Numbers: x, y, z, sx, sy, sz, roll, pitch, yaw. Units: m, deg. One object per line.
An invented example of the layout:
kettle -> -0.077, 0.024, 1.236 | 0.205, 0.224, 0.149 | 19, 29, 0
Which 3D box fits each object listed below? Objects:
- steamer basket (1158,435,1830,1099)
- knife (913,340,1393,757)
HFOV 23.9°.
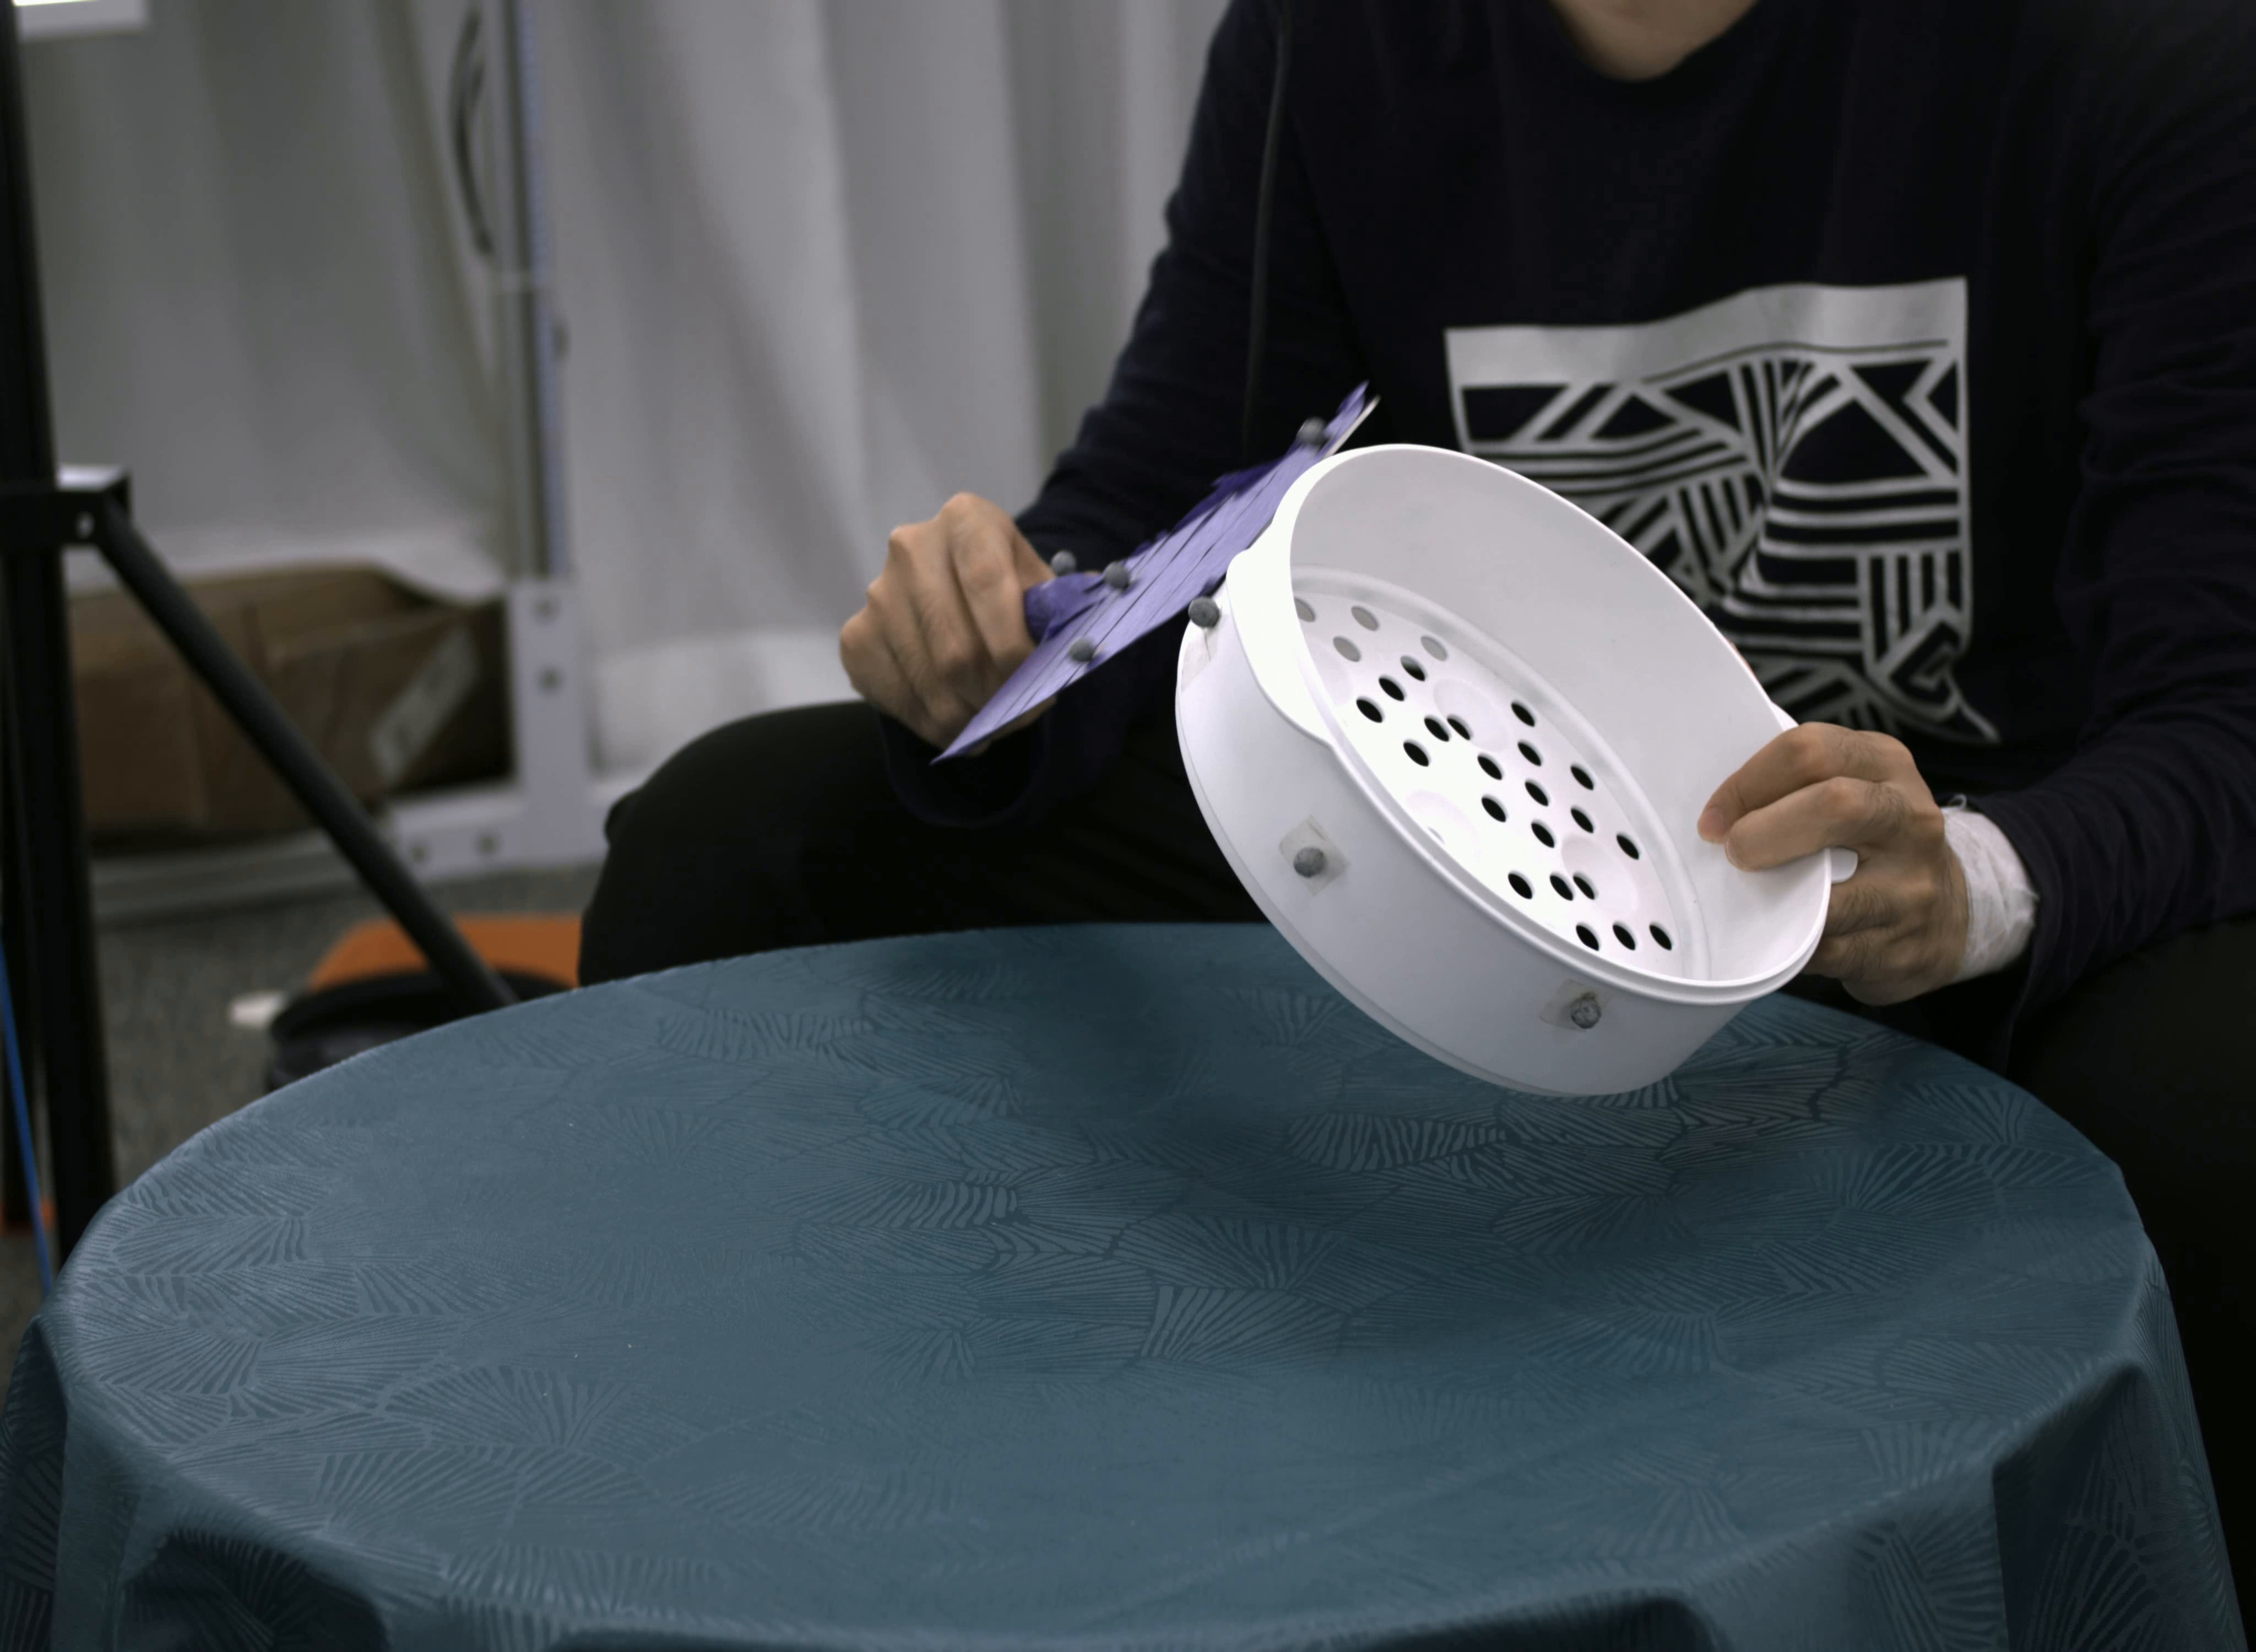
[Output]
steamer basket -> 0.100, -0.014, 1.527 | 0.224, 0.070, 0.205 | 18, 42, -35
knife -> -0.015, -0.068, 1.676 | 0.103, 0.032, 0.319 | -49, 7, -28
